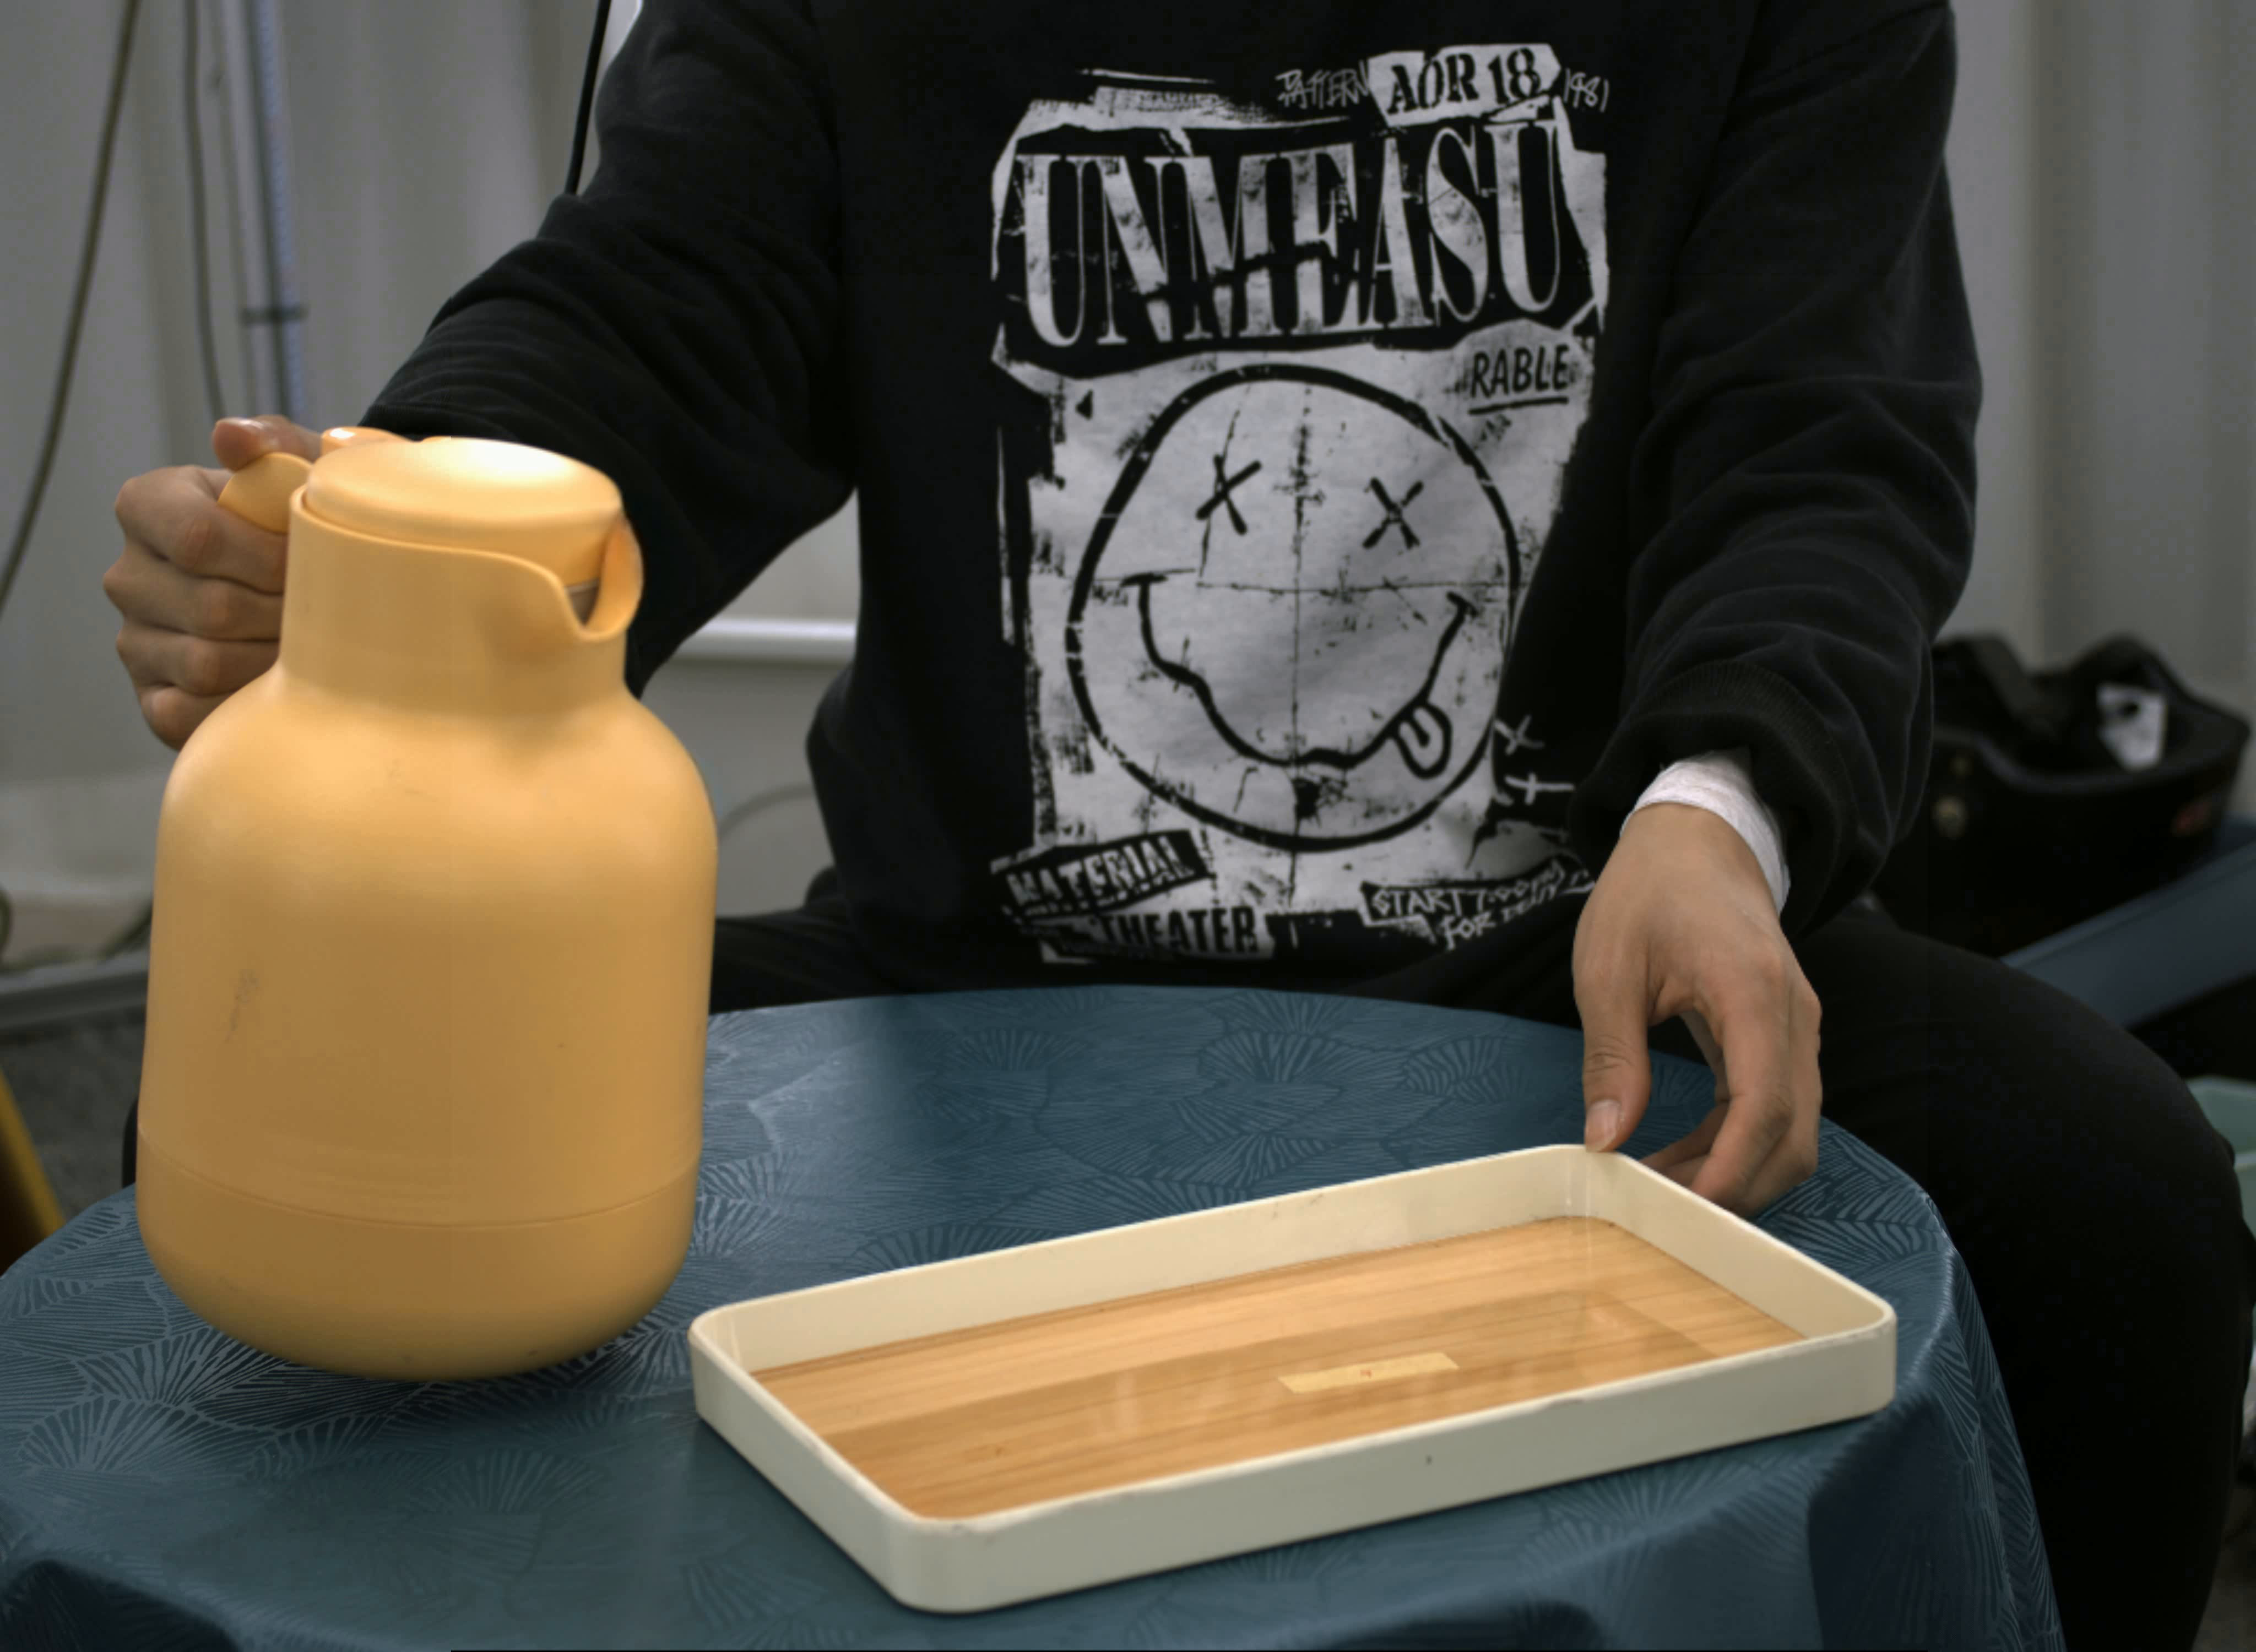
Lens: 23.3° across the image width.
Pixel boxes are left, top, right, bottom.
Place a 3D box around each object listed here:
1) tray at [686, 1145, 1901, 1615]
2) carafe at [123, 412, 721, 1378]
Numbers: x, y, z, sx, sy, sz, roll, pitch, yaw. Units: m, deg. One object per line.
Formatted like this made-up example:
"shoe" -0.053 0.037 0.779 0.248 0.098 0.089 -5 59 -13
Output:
"tray" 0.044 0.150 1.523 0.299 0.027 0.193 -9 16 -22
"carafe" -0.209 0.012 1.588 0.162 0.259 0.204 -3 19 -38
